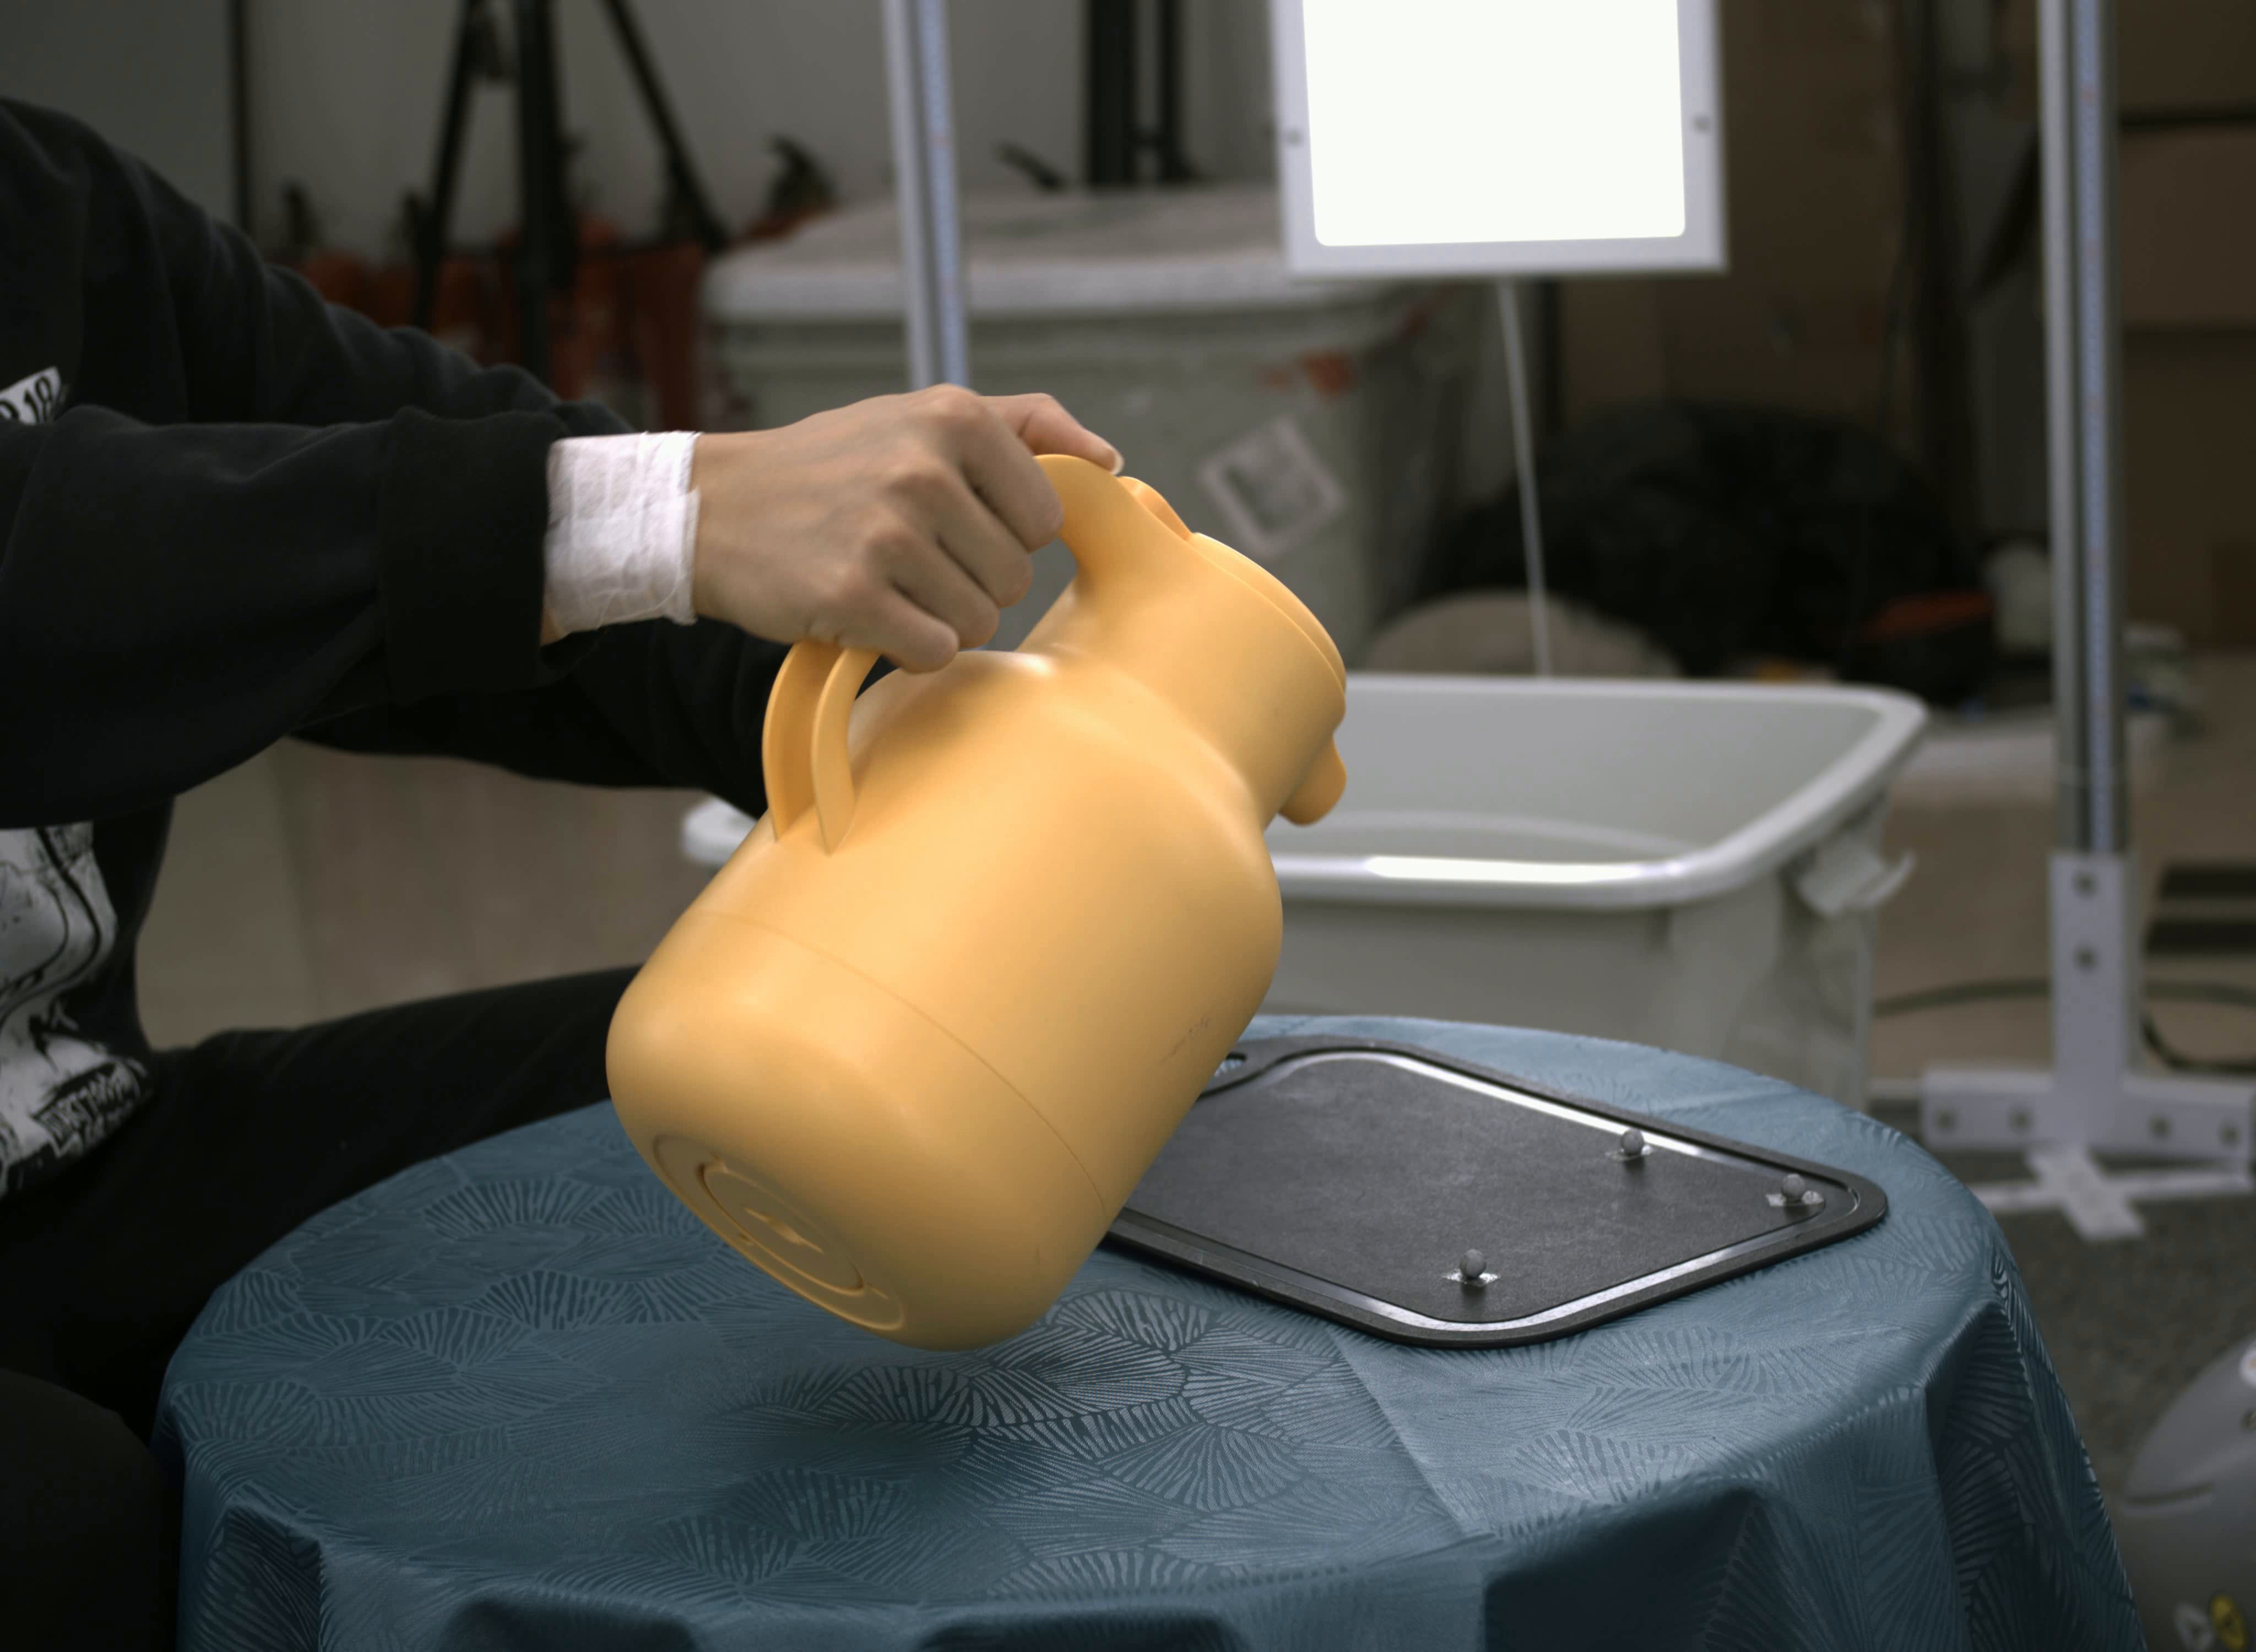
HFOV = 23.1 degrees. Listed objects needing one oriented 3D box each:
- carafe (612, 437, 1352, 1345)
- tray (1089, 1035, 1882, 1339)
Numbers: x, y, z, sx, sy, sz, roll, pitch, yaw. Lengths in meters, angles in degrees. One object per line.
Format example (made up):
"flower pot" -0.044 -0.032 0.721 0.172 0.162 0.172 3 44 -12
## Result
"carafe" -0.044 0.010 1.704 0.167 0.200 0.257 7 53 50
"tray" 0.087 0.117 1.878 0.206 0.010 0.332 -14 18 -34
